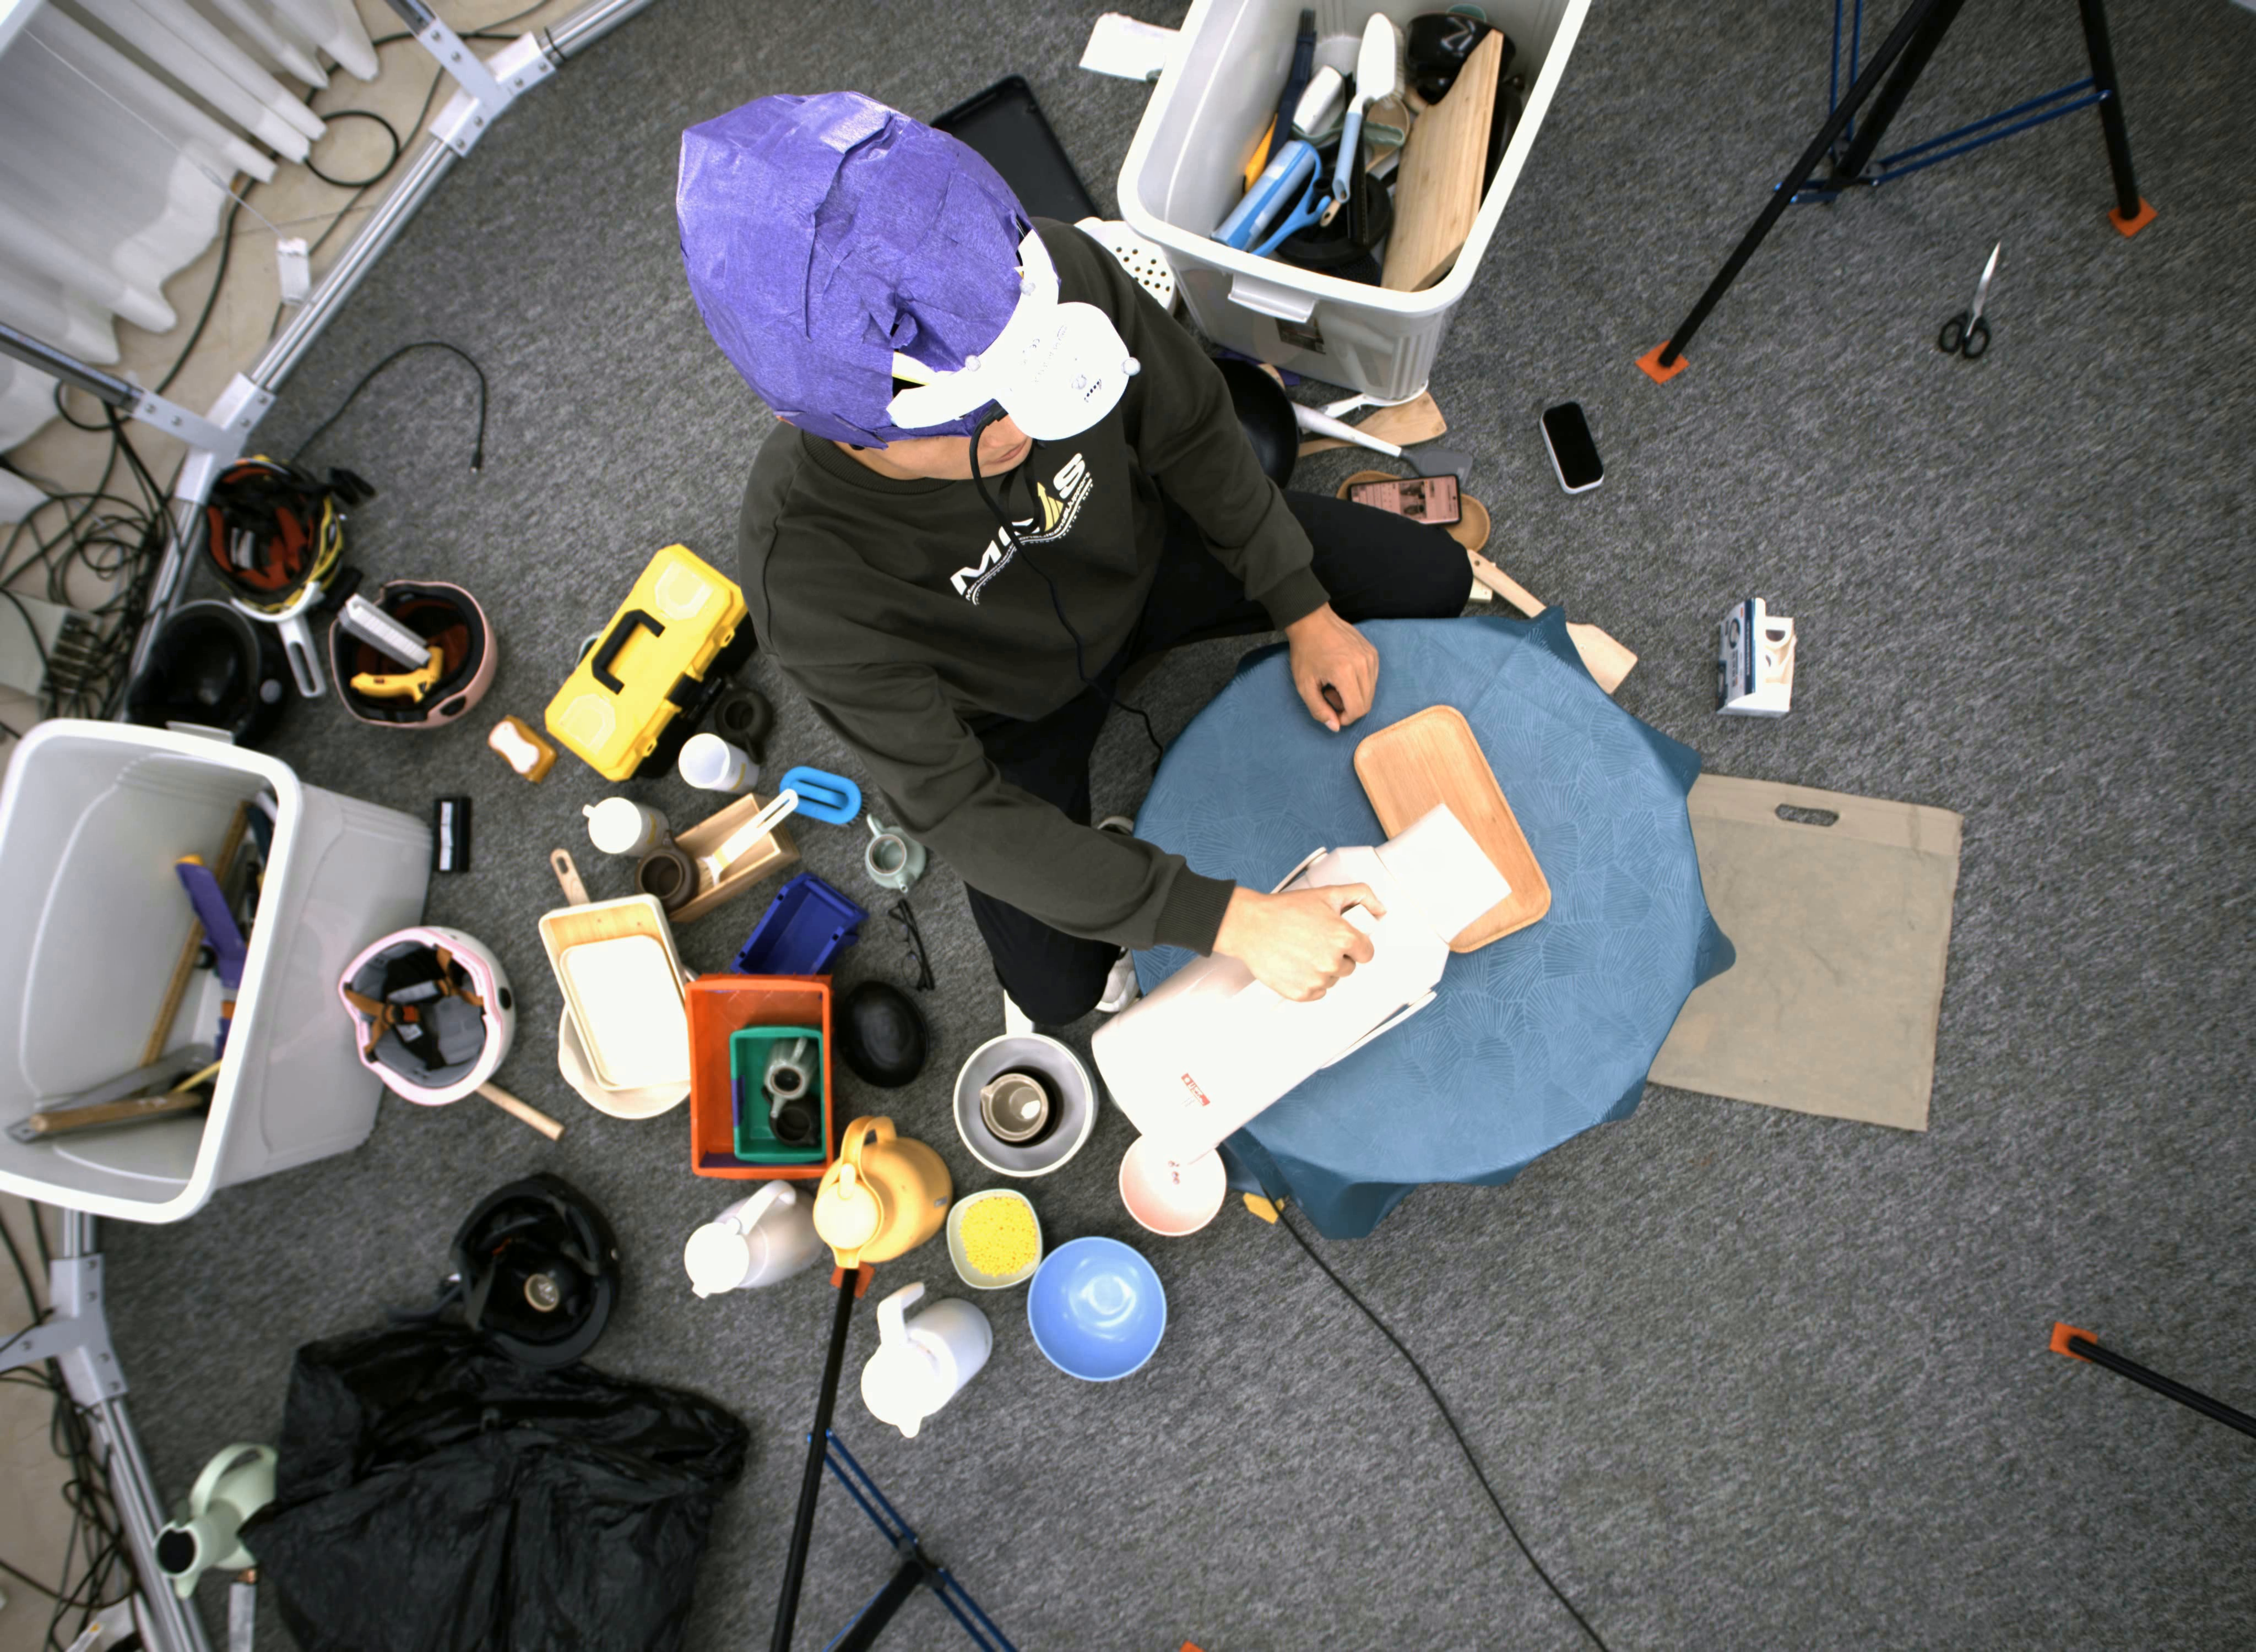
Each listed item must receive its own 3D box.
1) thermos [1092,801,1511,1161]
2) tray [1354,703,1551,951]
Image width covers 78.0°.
[{"bbox_3d":[0.162,0.136,1.297,0.410,0.206,0.174,-38,77,13],"label":"thermos"},{"bbox_3d":[0.339,-0.001,1.443,0.131,0.023,0.249,-24,82,6],"label":"tray"}]
